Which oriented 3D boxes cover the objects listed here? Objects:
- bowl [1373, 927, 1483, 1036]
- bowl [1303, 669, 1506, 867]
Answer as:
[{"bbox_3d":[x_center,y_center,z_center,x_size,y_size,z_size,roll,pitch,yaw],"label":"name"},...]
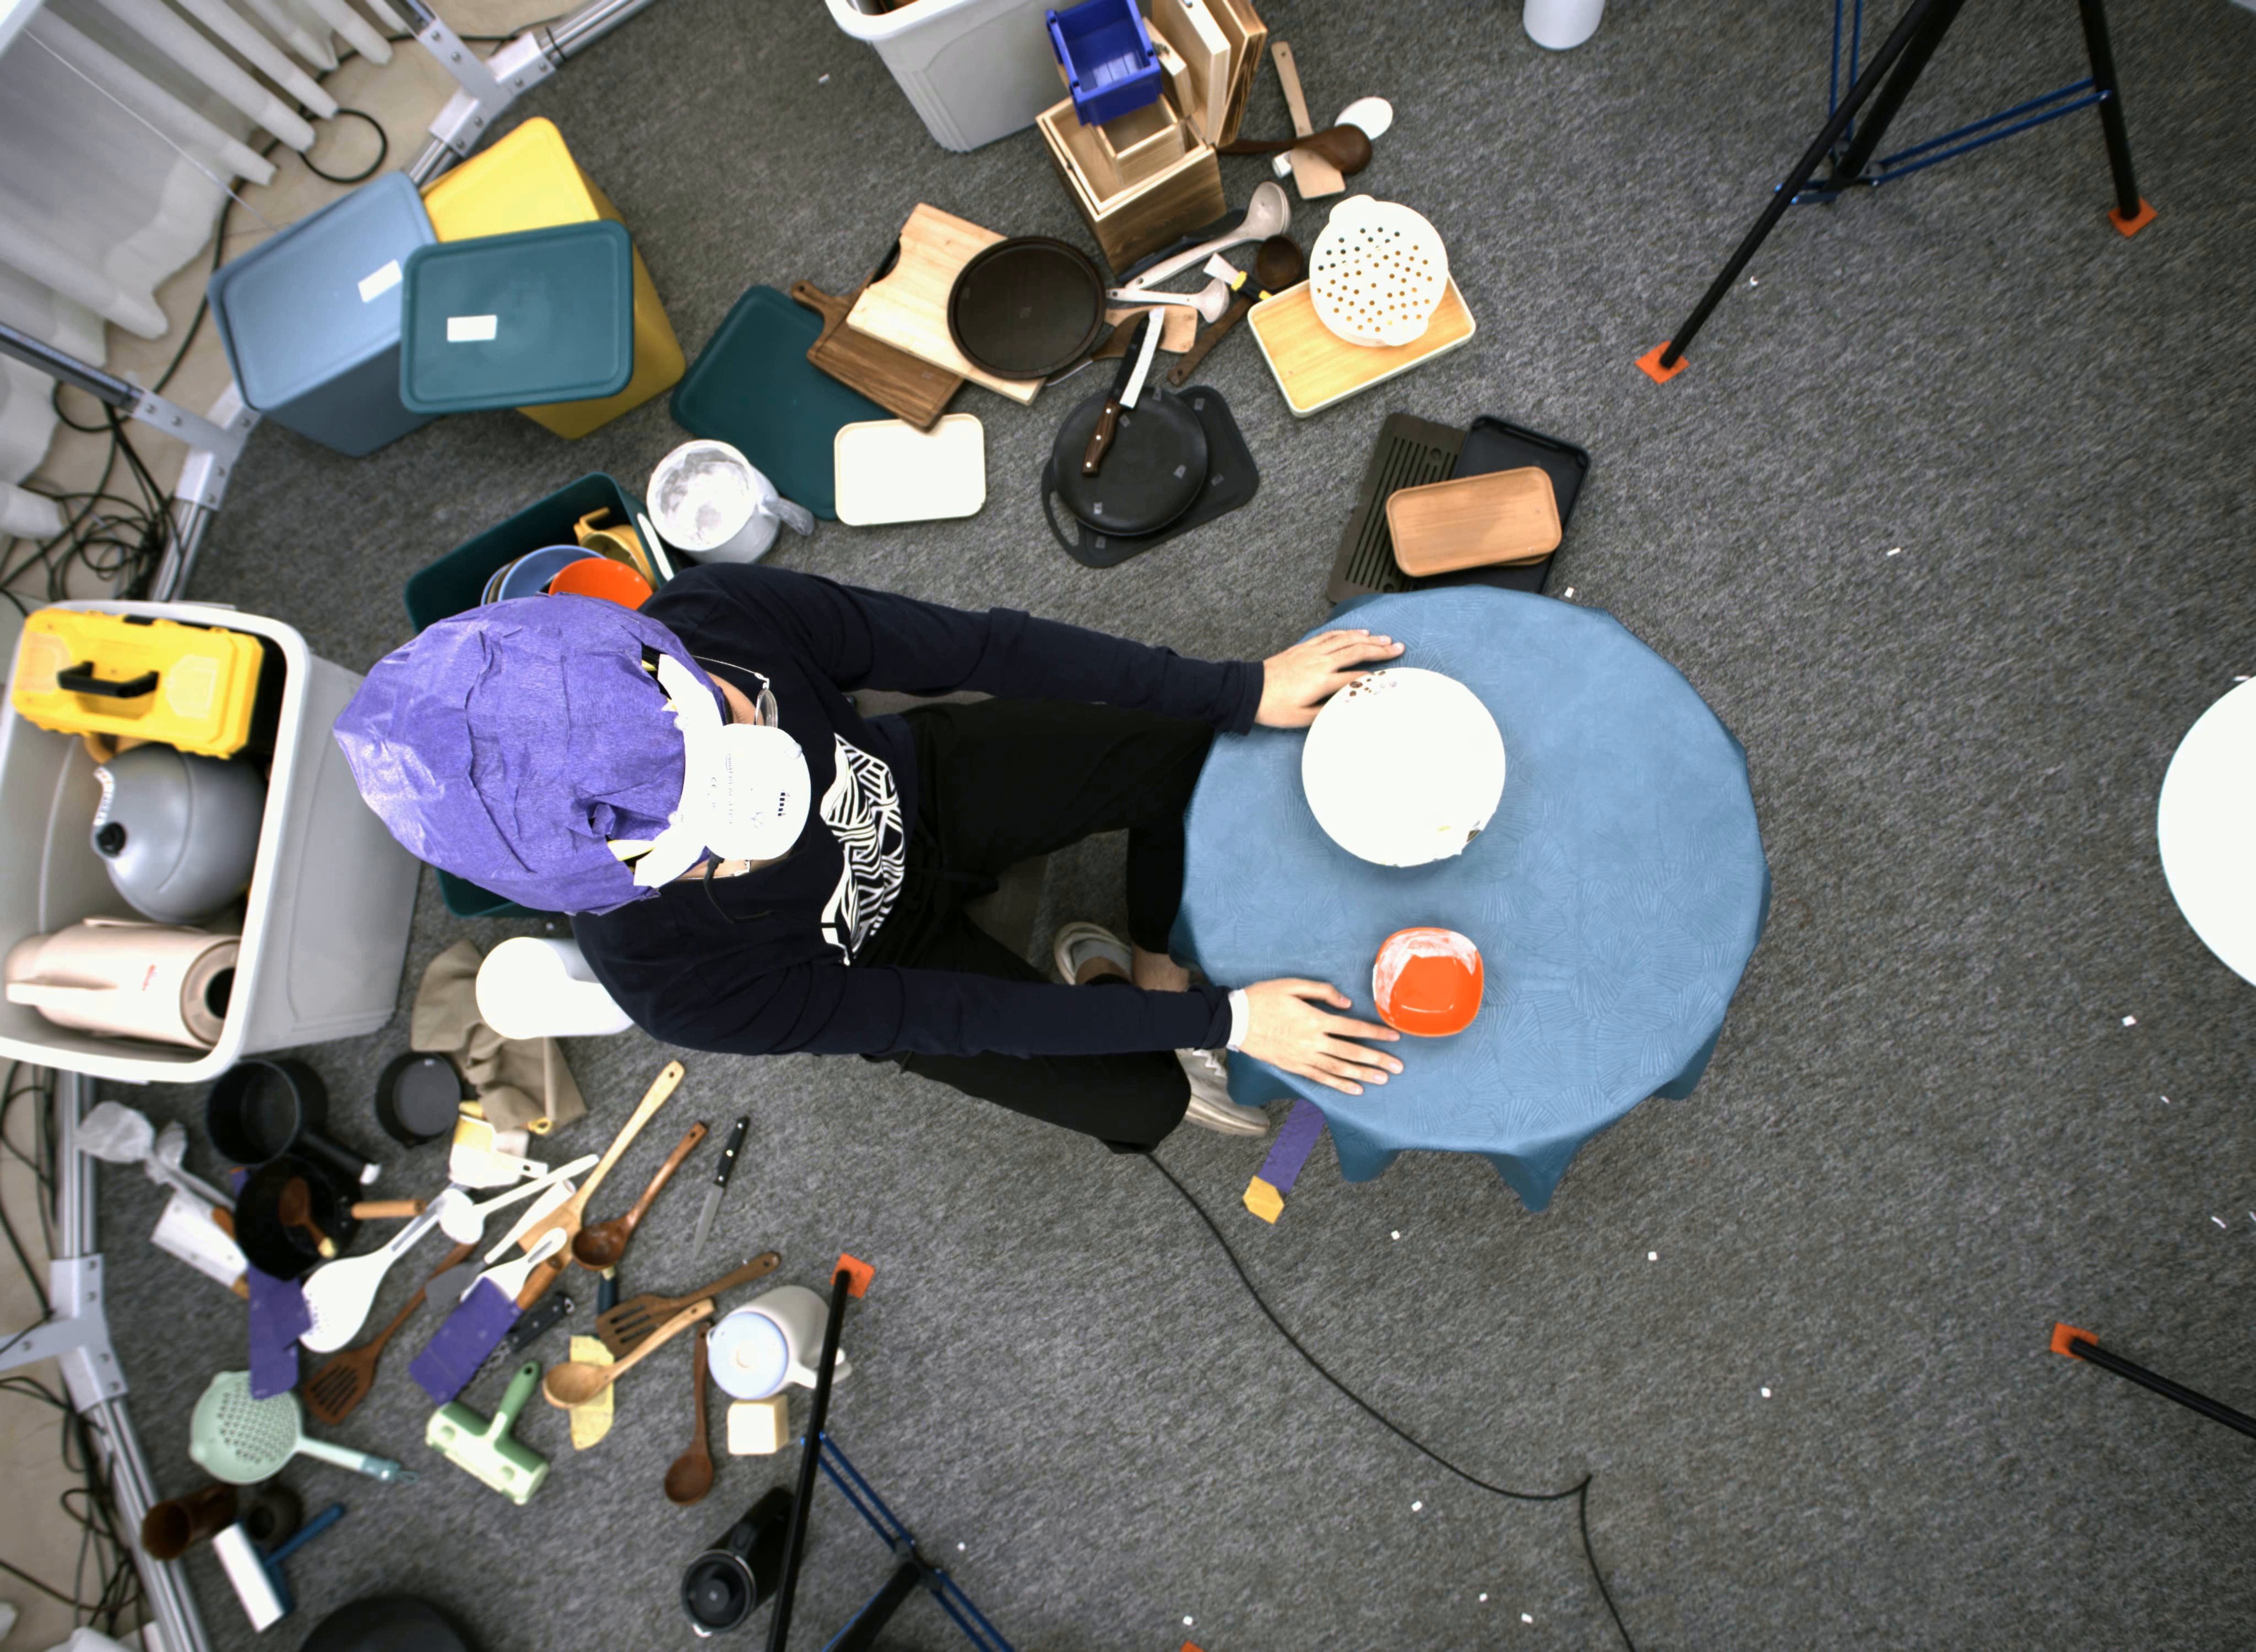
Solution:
[{"bbox_3d":[0.308,0.158,1.422,0.119,0.051,0.118,-1,87,10],"label":"bowl"},{"bbox_3d":[0.285,-0.057,1.426,0.205,0.078,0.203,-1,86,11],"label":"bowl"}]
